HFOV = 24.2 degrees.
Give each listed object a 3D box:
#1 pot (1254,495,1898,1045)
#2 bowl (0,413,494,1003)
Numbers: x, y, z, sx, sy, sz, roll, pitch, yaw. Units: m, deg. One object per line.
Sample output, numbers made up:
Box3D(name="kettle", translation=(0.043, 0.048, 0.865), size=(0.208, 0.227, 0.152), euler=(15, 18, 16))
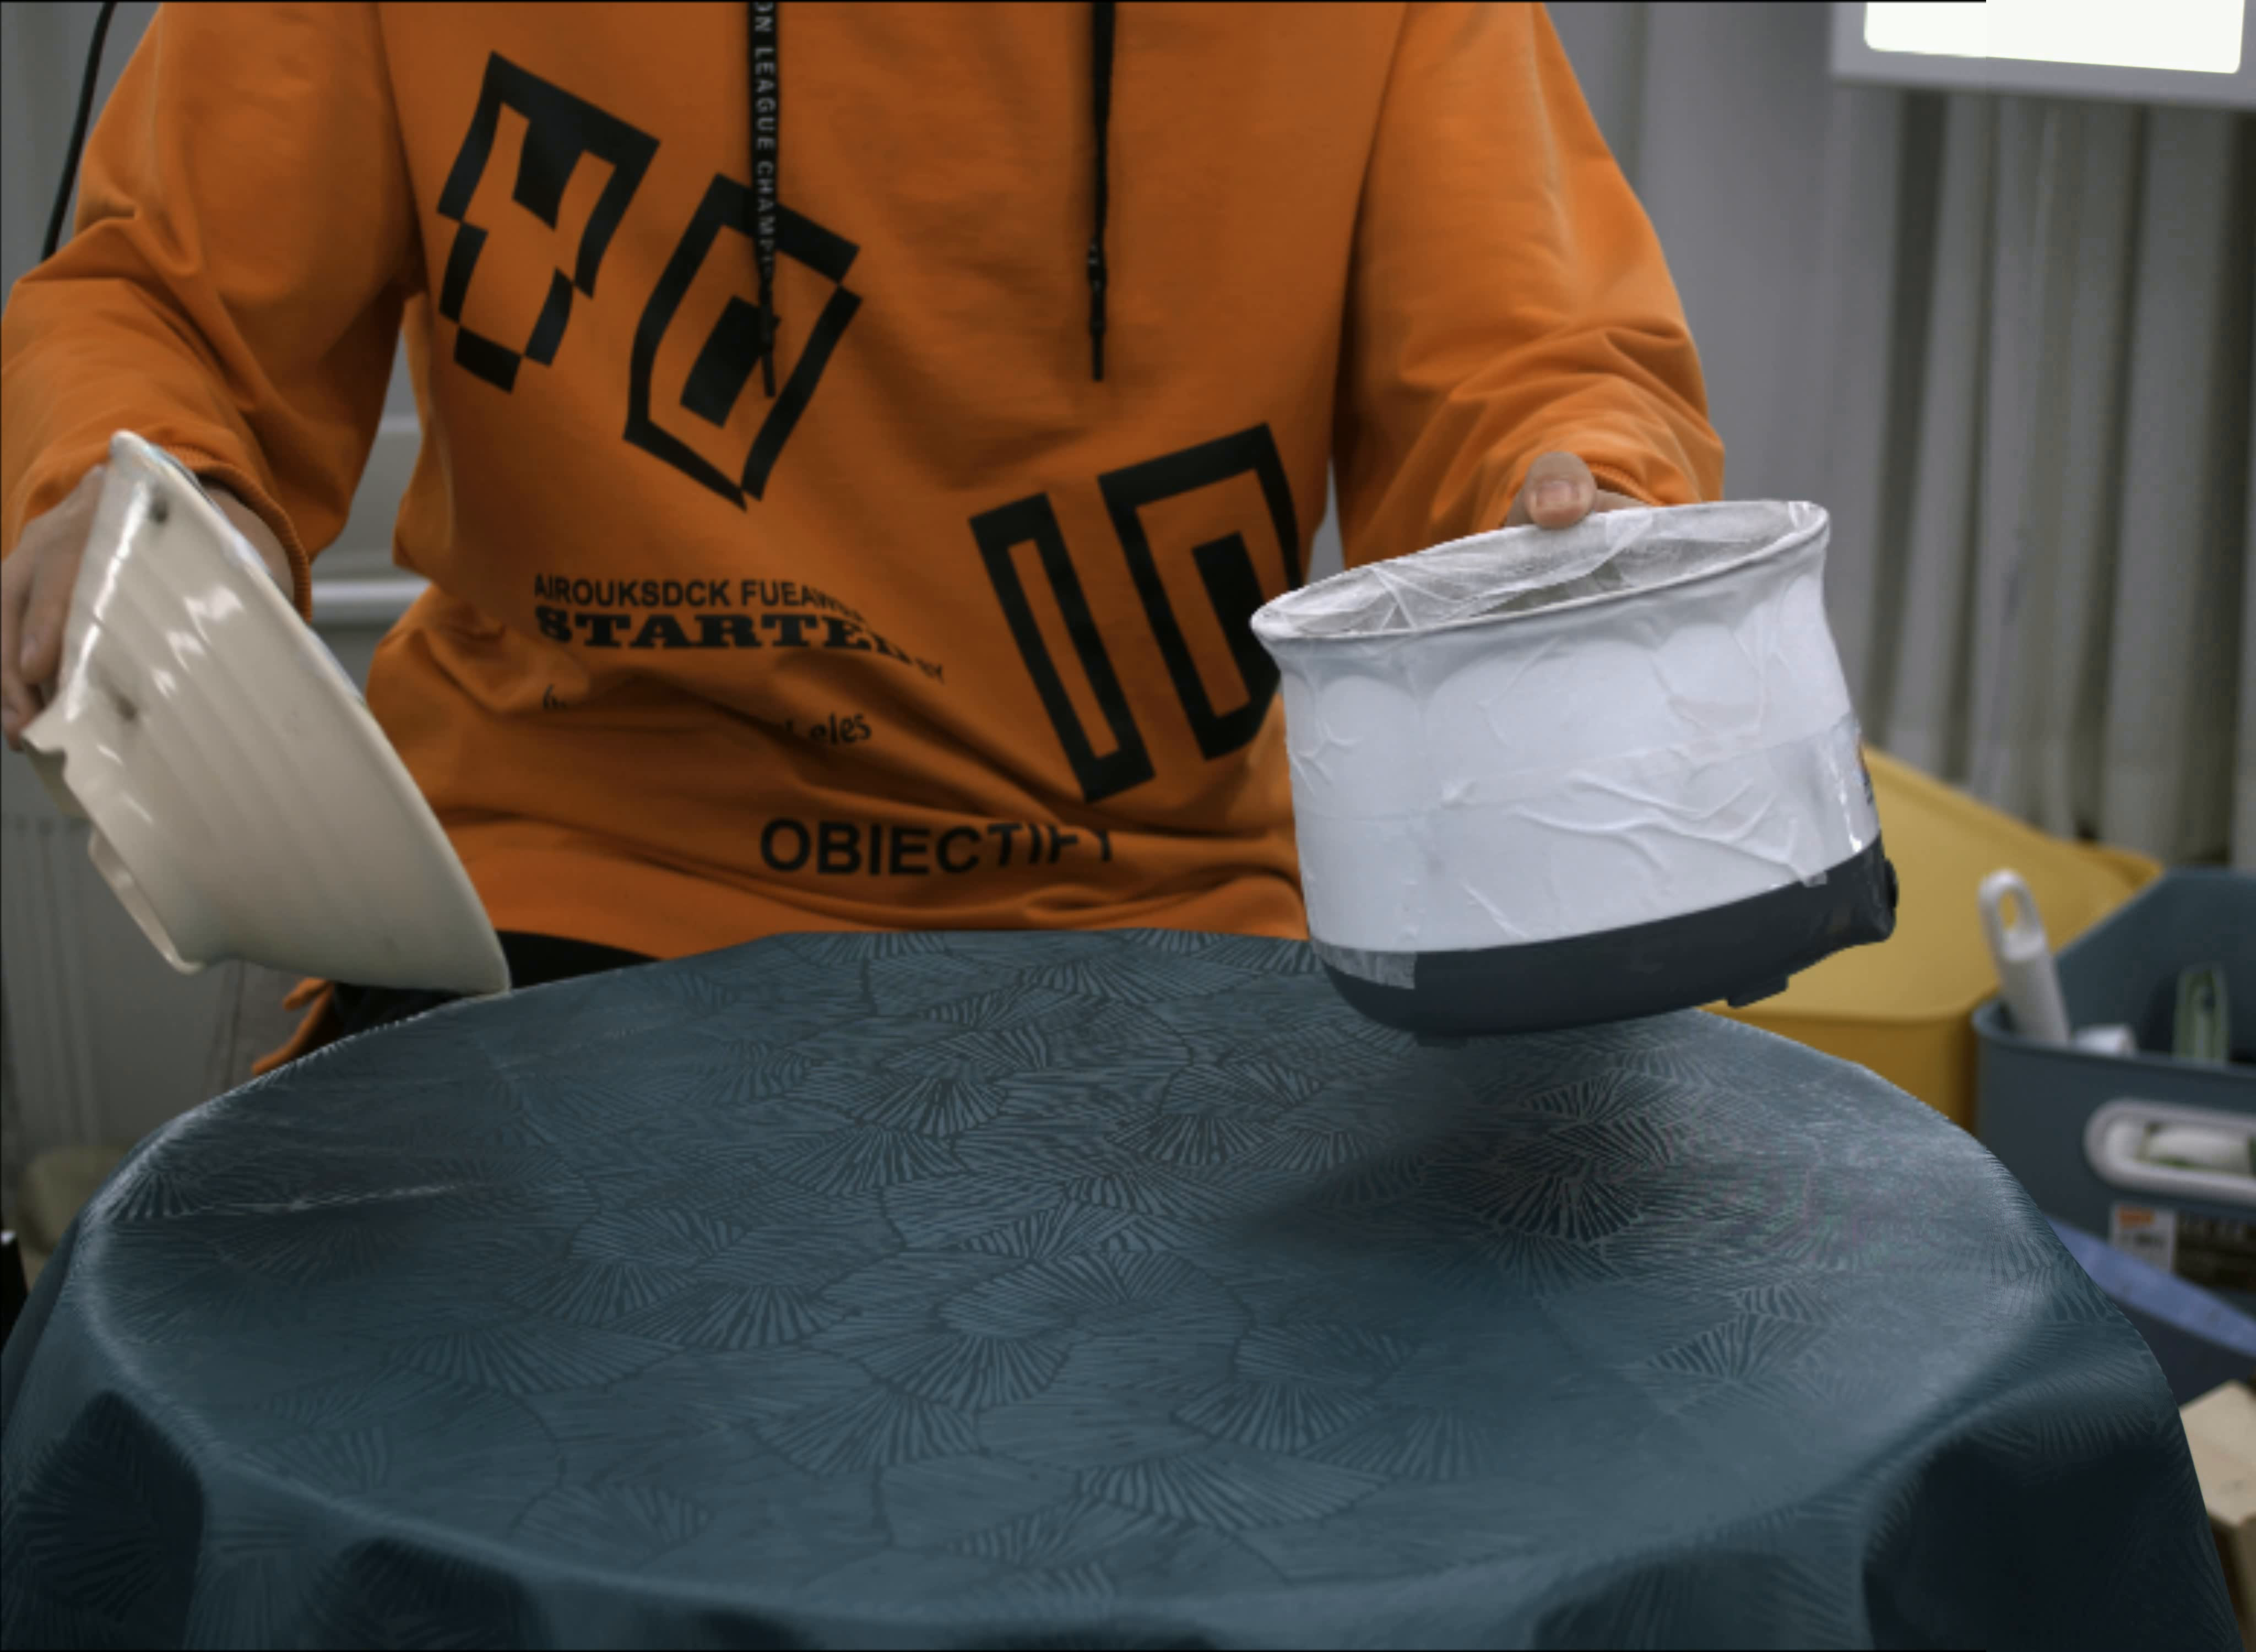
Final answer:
Box3D(name="pot", translation=(0.140, -0.024, 1.620), size=(0.178, 0.137, 0.233), euler=(-9, 10, 10))
Box3D(name="bowl", translation=(-0.274, -0.015, 1.544), size=(0.078, 0.206, 0.201), euler=(-35, 29, -17))
